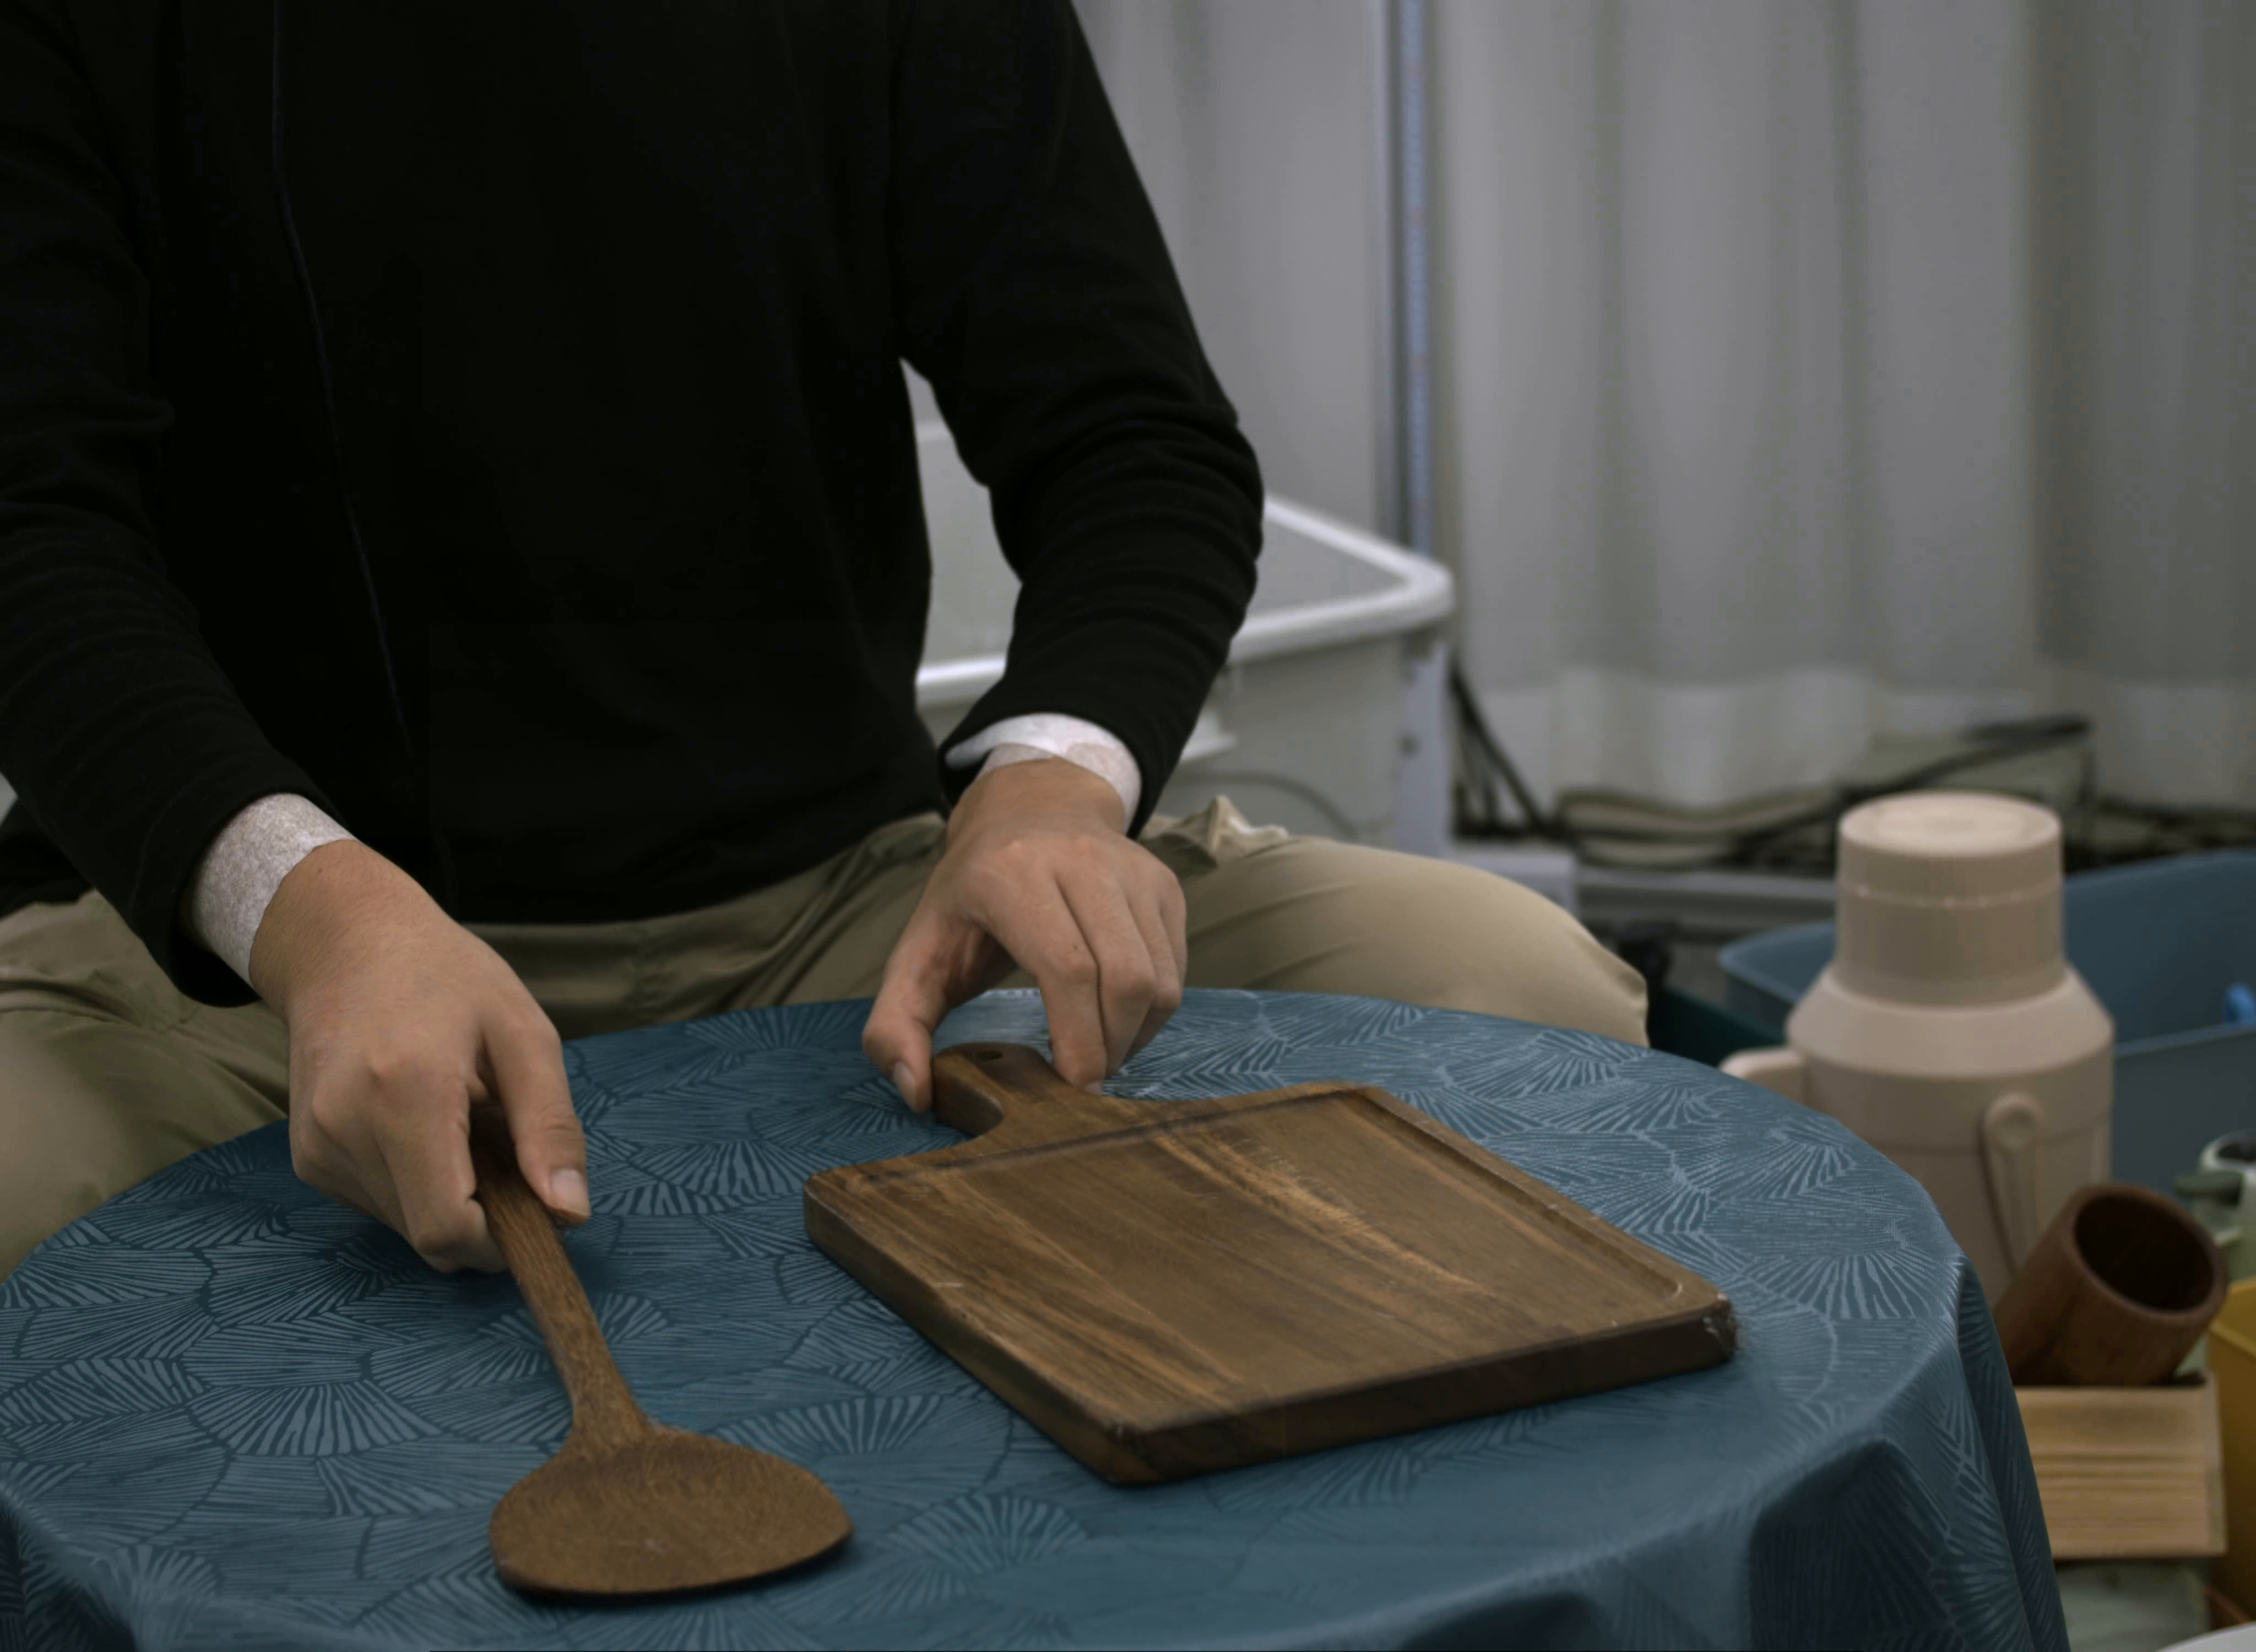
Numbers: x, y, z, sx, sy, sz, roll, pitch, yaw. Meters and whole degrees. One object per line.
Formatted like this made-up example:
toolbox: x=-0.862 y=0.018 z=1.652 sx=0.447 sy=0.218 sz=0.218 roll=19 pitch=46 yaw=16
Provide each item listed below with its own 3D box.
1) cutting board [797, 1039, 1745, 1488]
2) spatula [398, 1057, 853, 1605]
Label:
cutting board: x=0.016 y=0.118 z=1.657 sx=0.200 sy=0.023 sz=0.355 roll=-9 pitch=16 yaw=-22
spatula: x=-0.167 y=0.137 z=1.586 sx=0.095 sy=0.015 sz=0.390 roll=-7 pitch=21 yaw=-15
